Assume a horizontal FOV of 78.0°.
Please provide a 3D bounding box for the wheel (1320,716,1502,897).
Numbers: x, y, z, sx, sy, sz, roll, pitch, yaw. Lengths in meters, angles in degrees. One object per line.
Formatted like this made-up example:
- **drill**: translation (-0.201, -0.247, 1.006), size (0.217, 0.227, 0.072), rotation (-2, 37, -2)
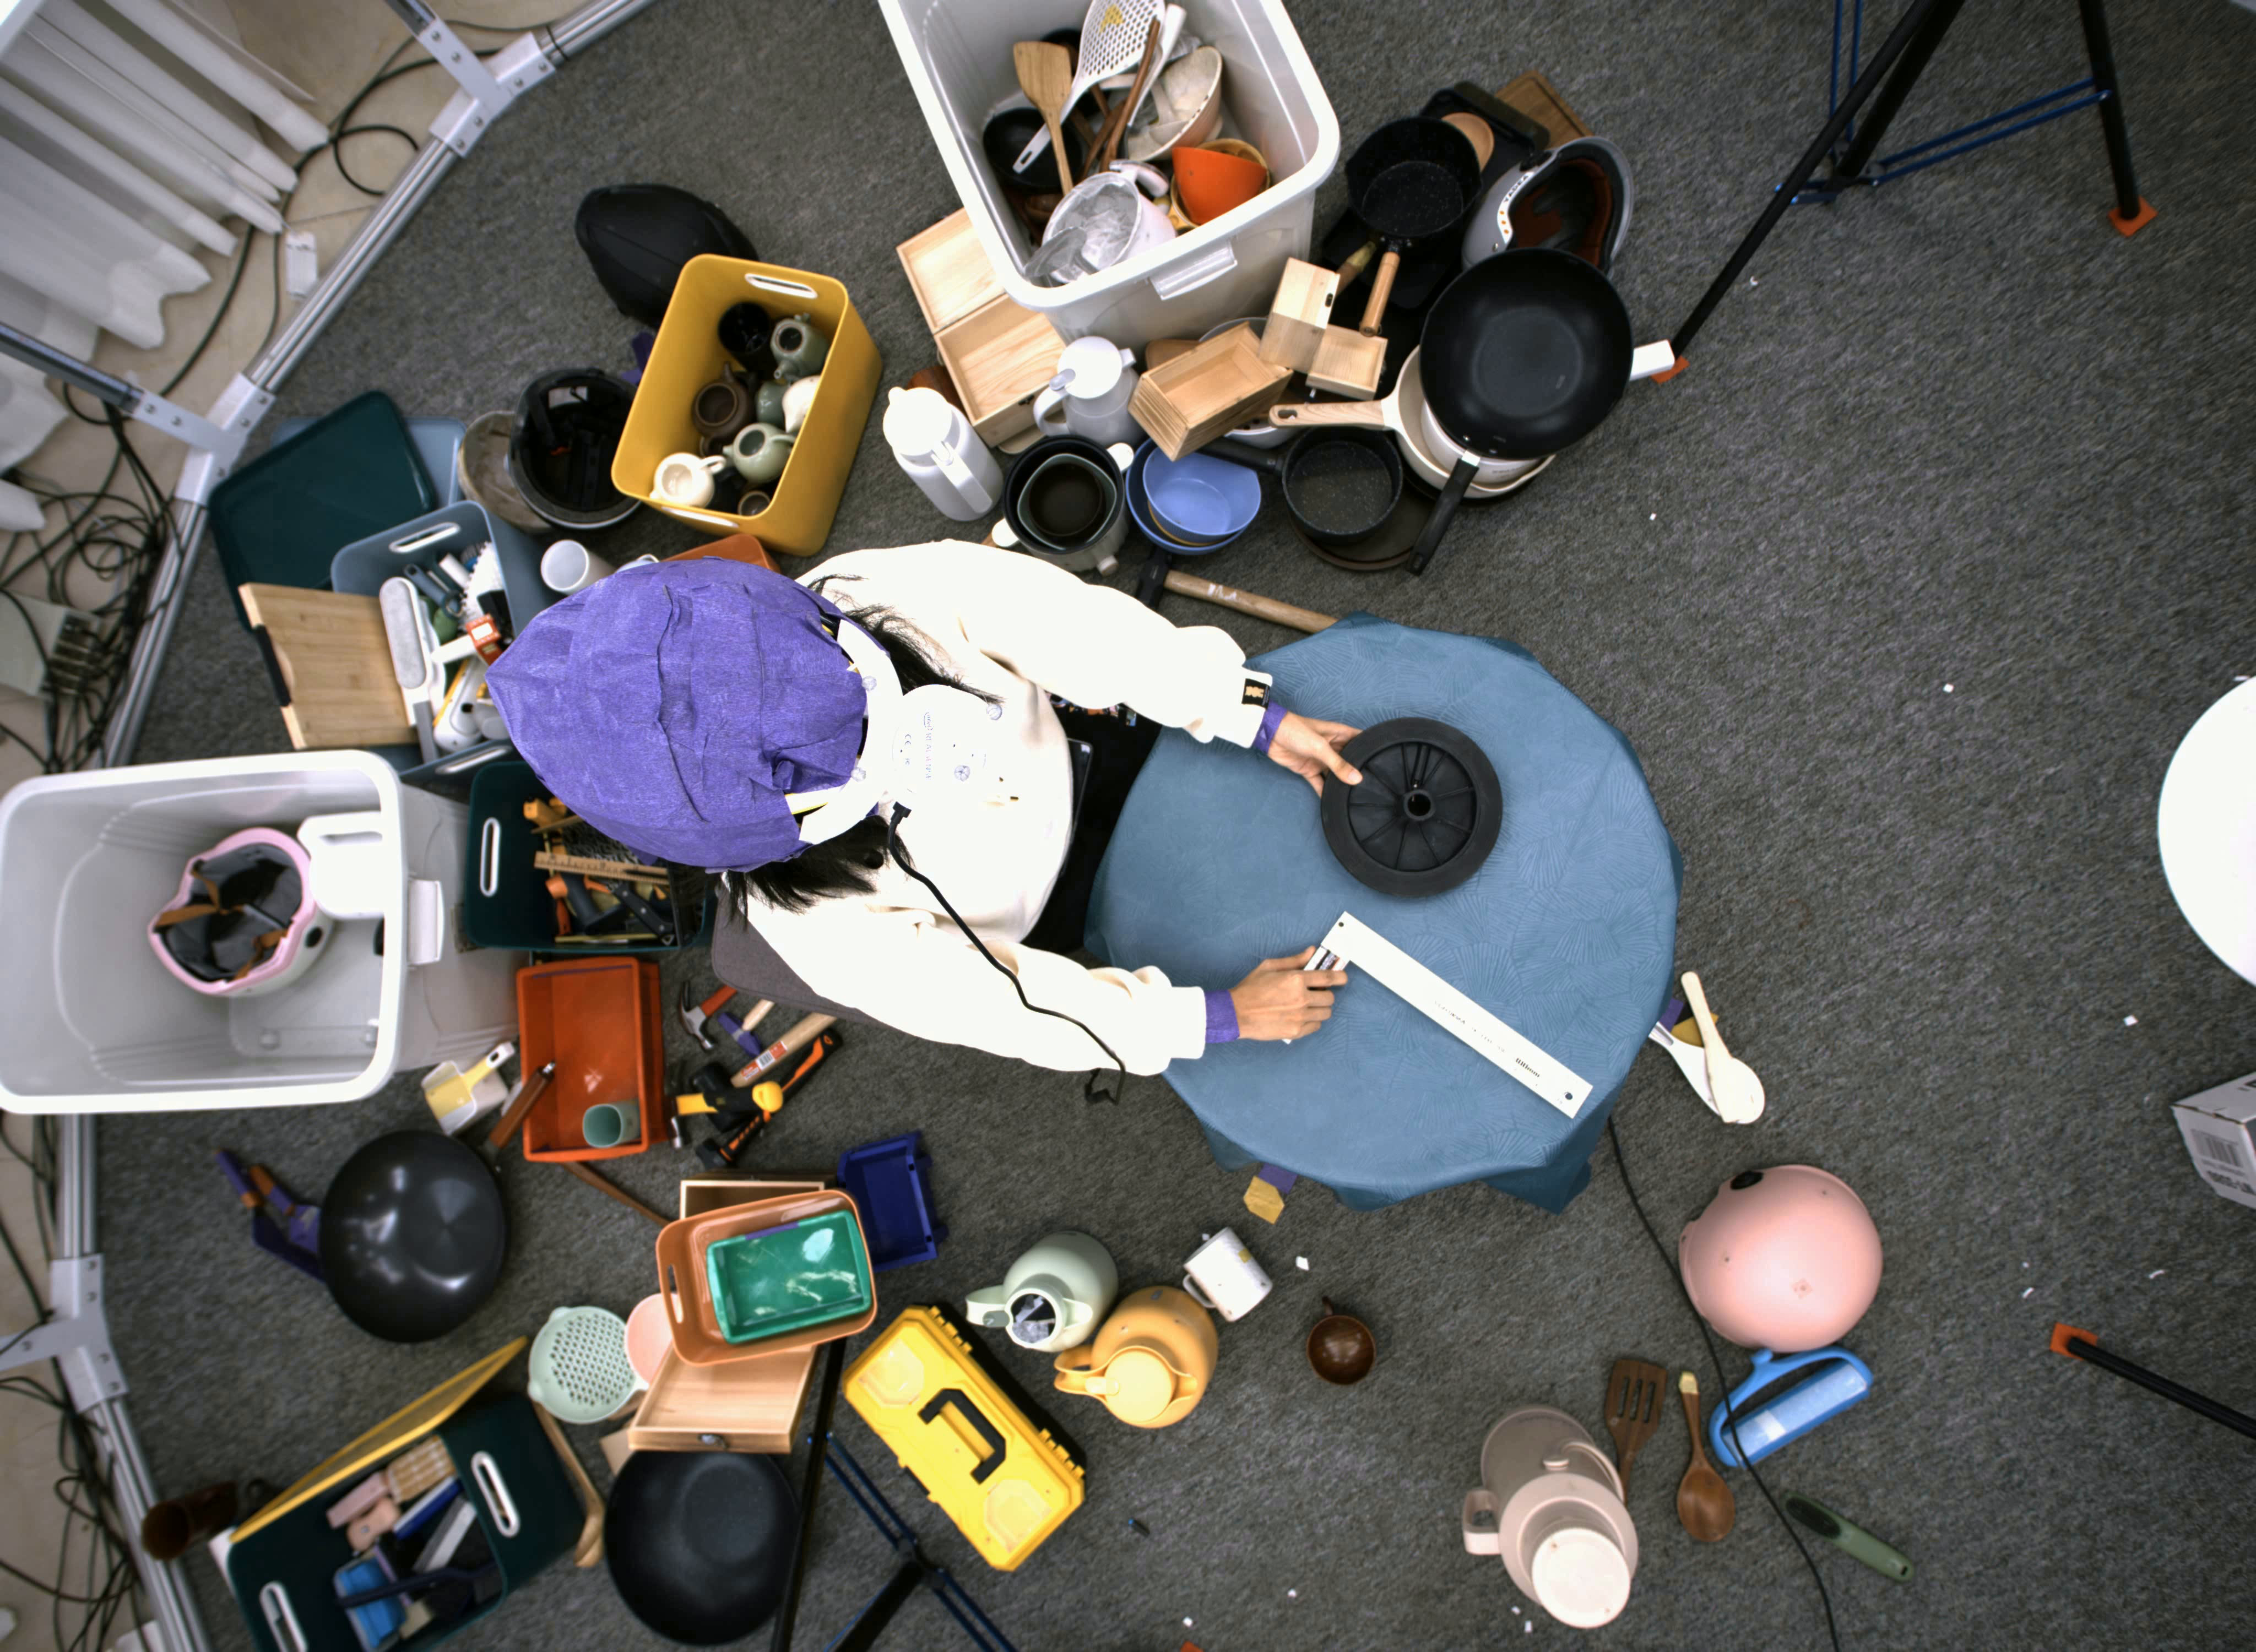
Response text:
- **wheel**: translation (0.293, -0.022, 1.417), size (0.188, 0.079, 0.189), rotation (-10, 90, 5)

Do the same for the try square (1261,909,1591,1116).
- **try square**: translation (0.306, 0.232, 1.426), size (0.312, 0.016, 0.151), rotation (36, 81, 10)
